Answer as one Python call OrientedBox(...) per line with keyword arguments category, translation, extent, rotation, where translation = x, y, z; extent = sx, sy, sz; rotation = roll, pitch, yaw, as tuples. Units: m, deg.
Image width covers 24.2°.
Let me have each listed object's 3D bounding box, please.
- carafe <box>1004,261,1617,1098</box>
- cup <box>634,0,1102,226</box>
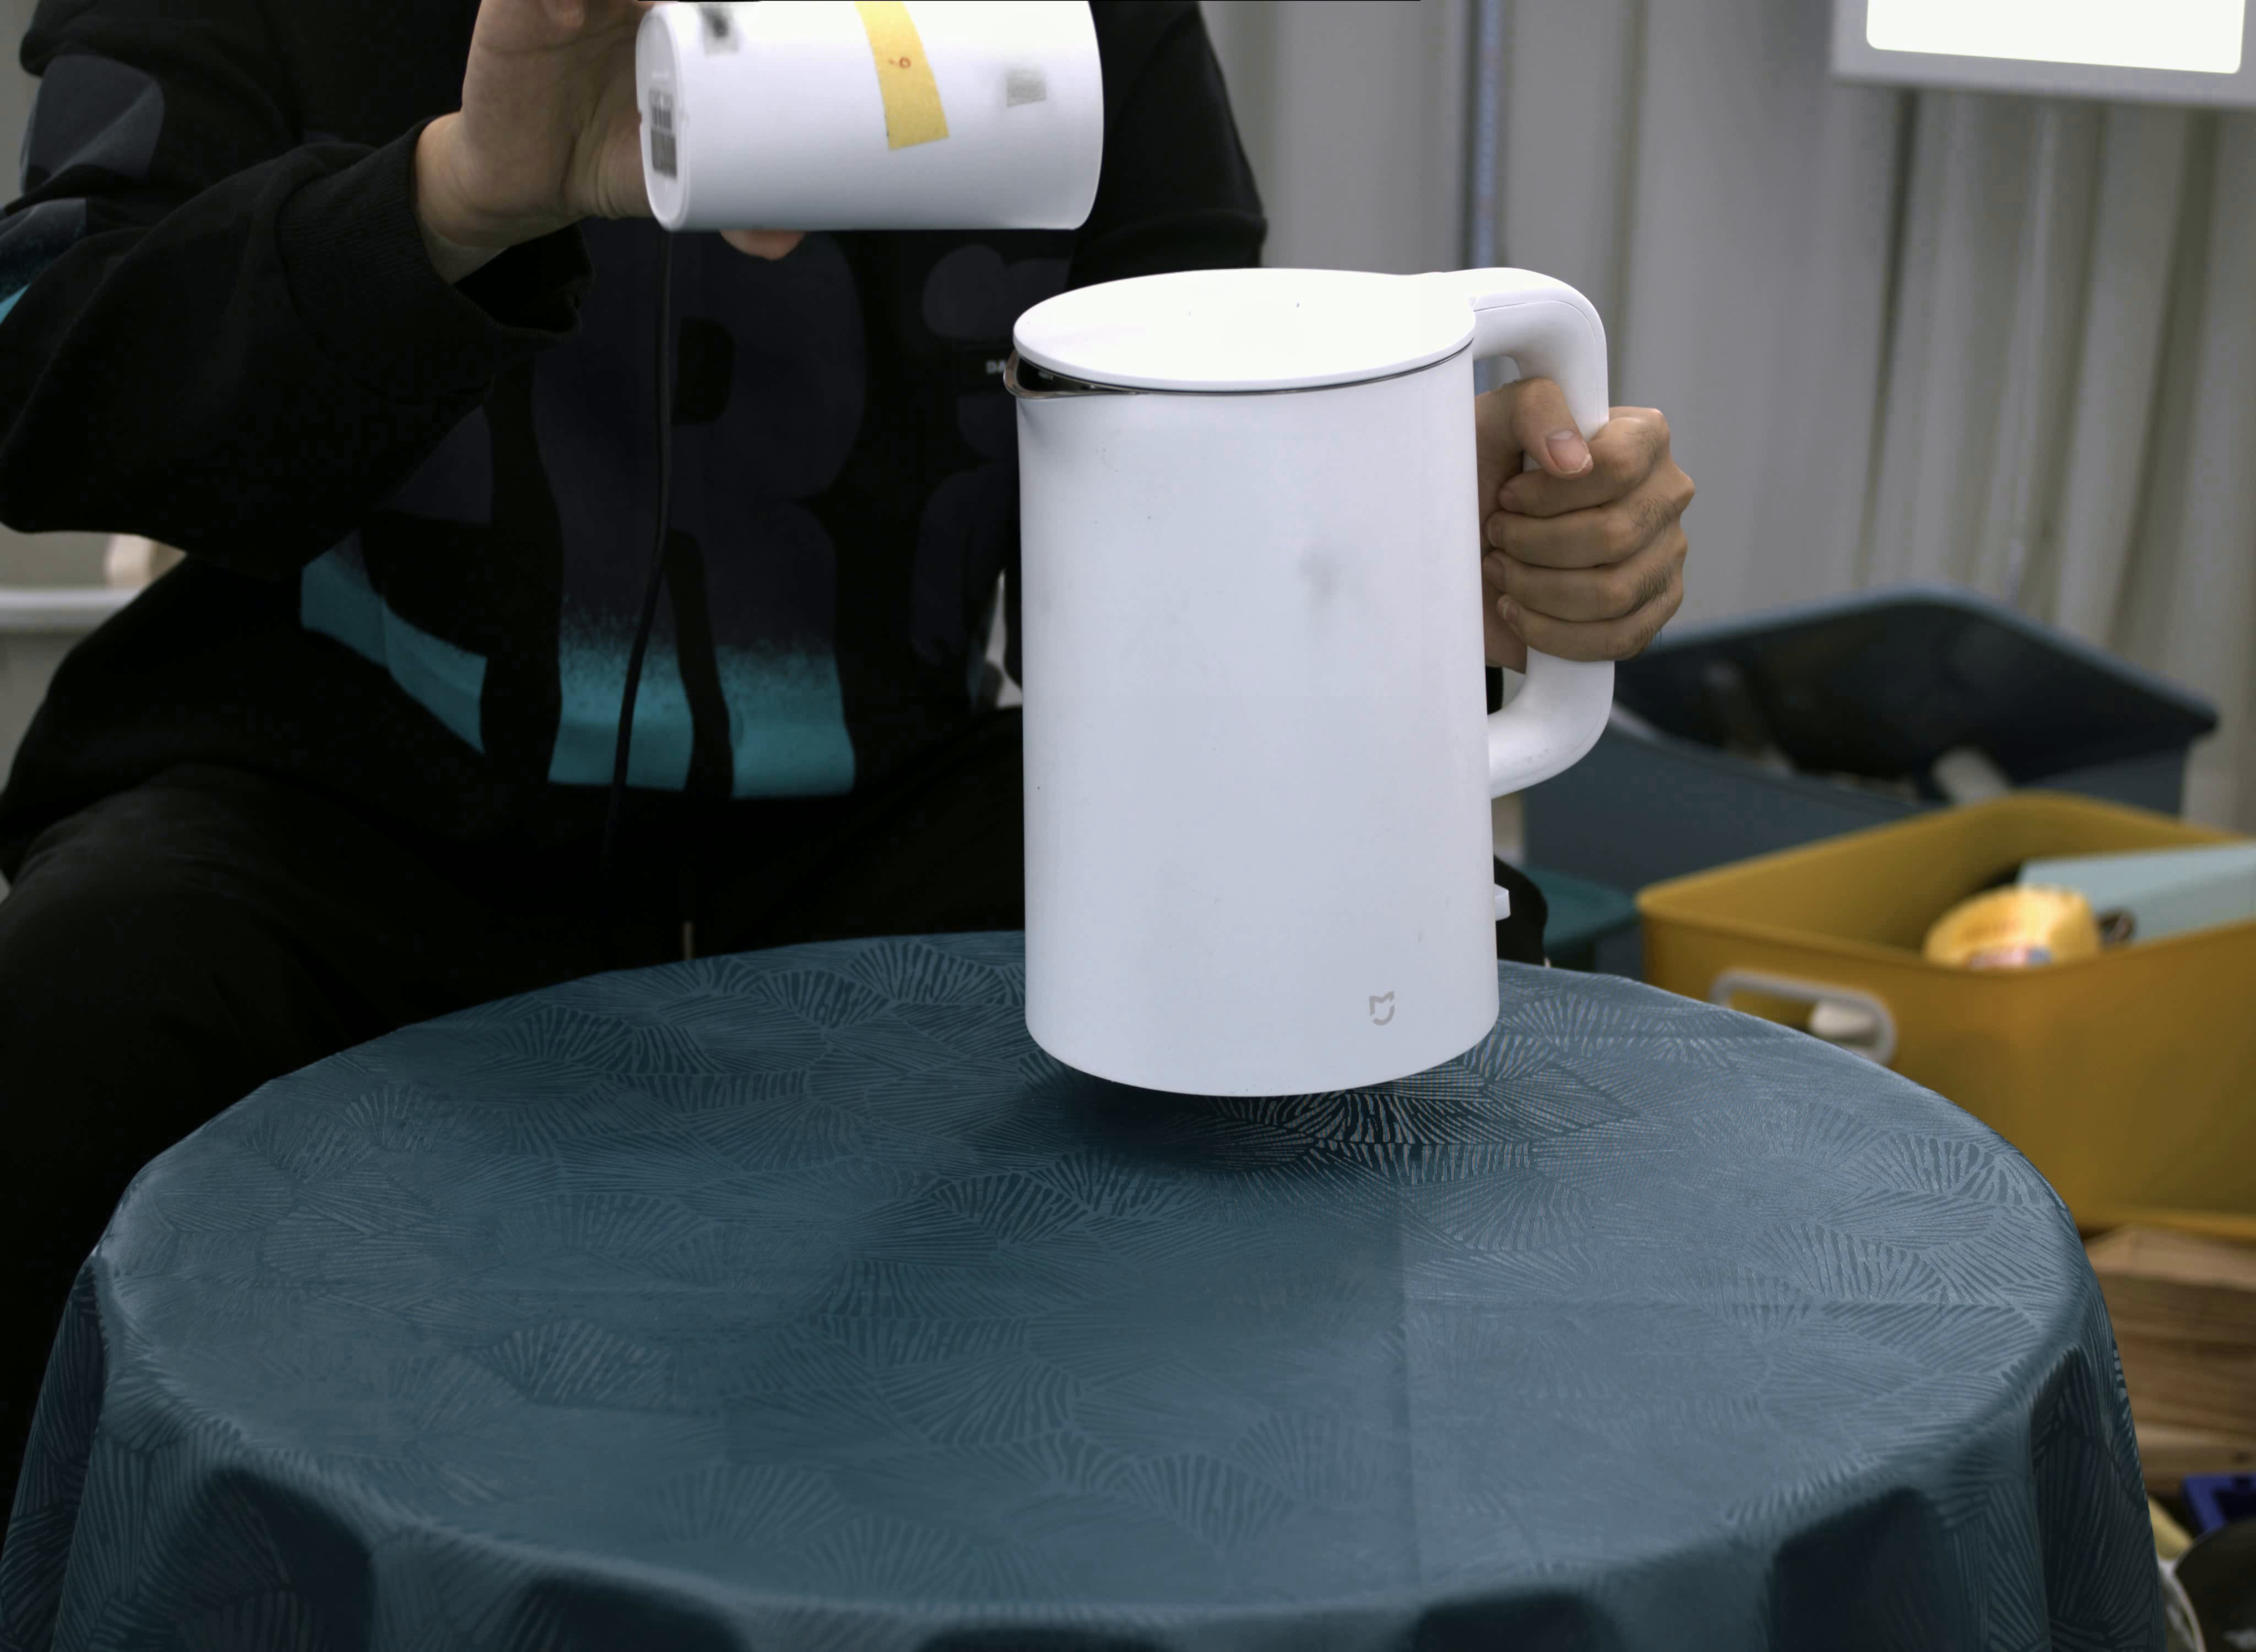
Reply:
OrientedBox(category="carafe", translation=(0.062, -0.053, 1.664), extent=(0.214, 0.242, 0.150), rotation=(-13, 23, -29))
OrientedBox(category="cup", translation=(-0.078, -0.216, 1.551), extent=(0.125, 0.082, 0.081), rotation=(-4, 17, -17))
